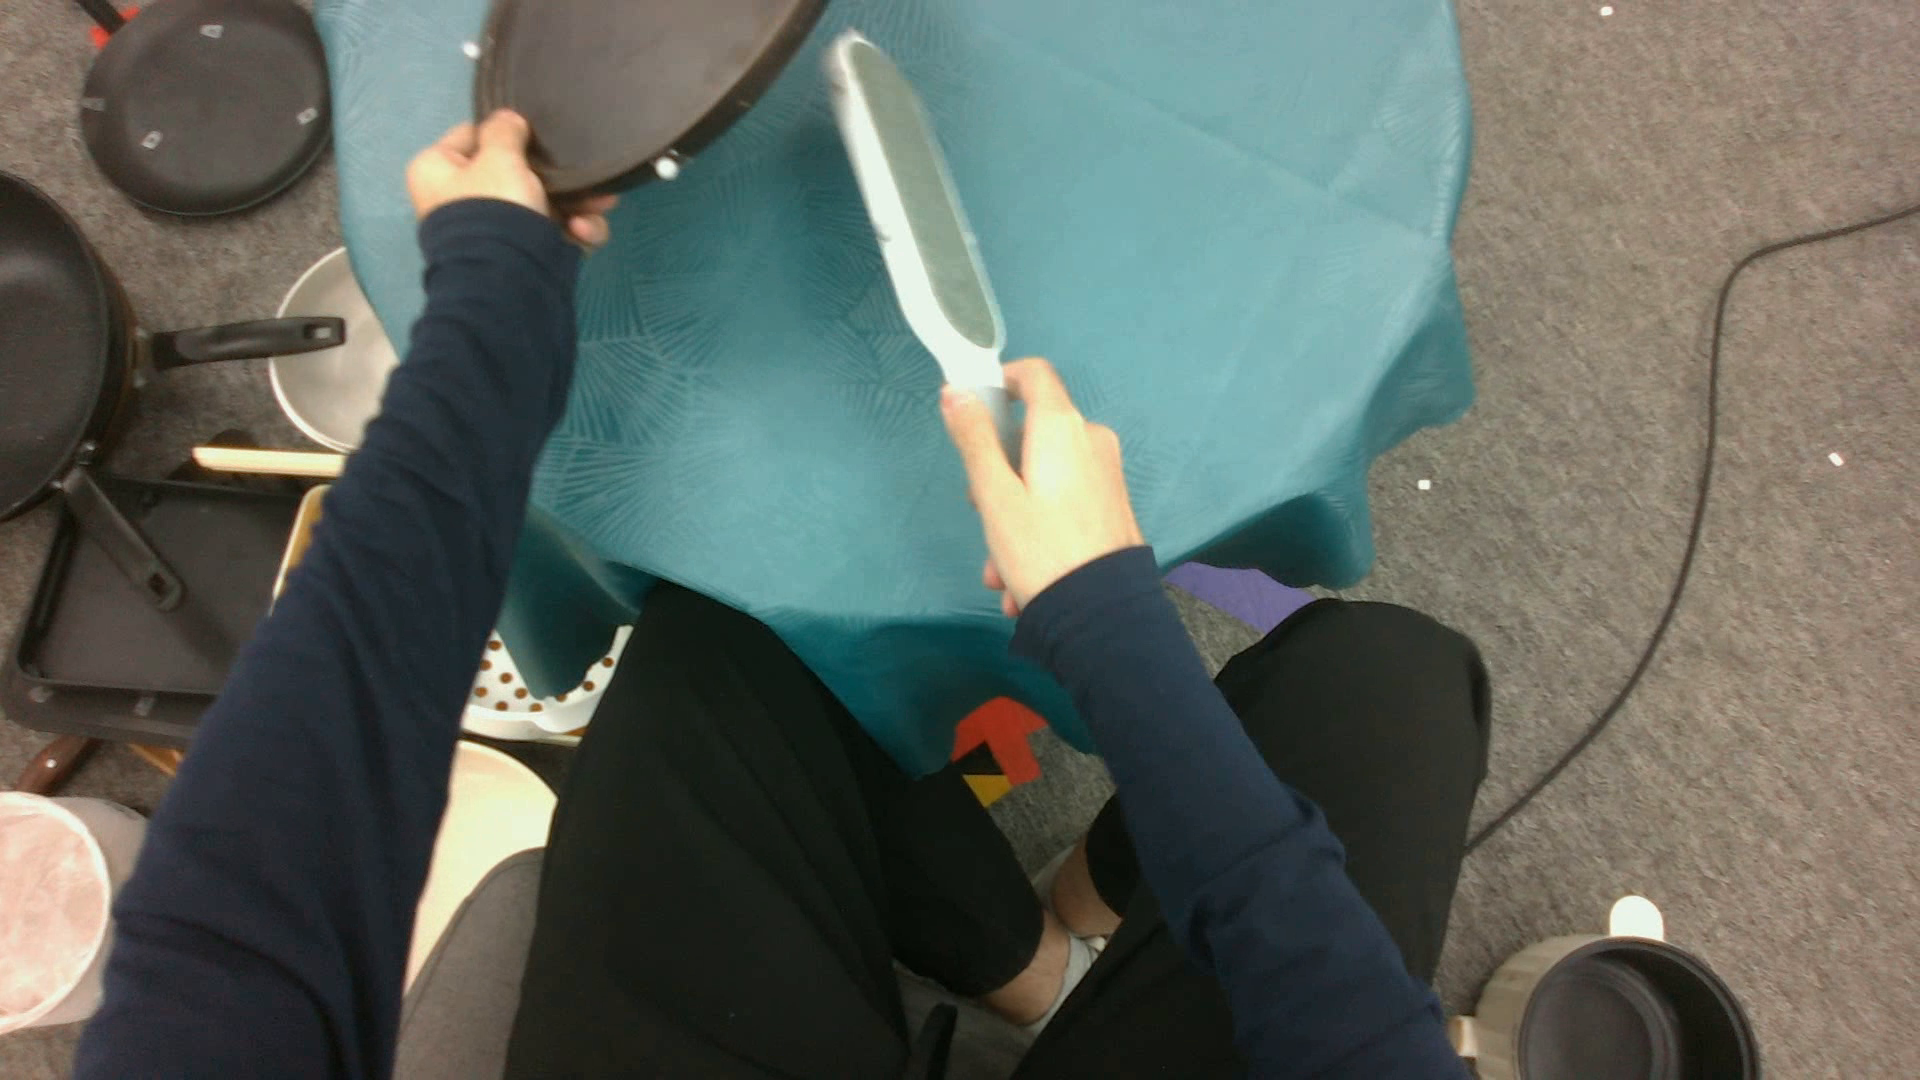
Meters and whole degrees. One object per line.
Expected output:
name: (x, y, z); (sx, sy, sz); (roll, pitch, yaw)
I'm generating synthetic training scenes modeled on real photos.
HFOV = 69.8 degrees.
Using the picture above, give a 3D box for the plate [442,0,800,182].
plate: (-0.143, -0.274, 0.622); (0.254, 0.029, 0.255); (-15, 63, 31)

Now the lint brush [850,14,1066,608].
lint brush: (-0.002, -0.114, 0.631); (0.021, 0.060, 0.309); (-26, 68, 29)
